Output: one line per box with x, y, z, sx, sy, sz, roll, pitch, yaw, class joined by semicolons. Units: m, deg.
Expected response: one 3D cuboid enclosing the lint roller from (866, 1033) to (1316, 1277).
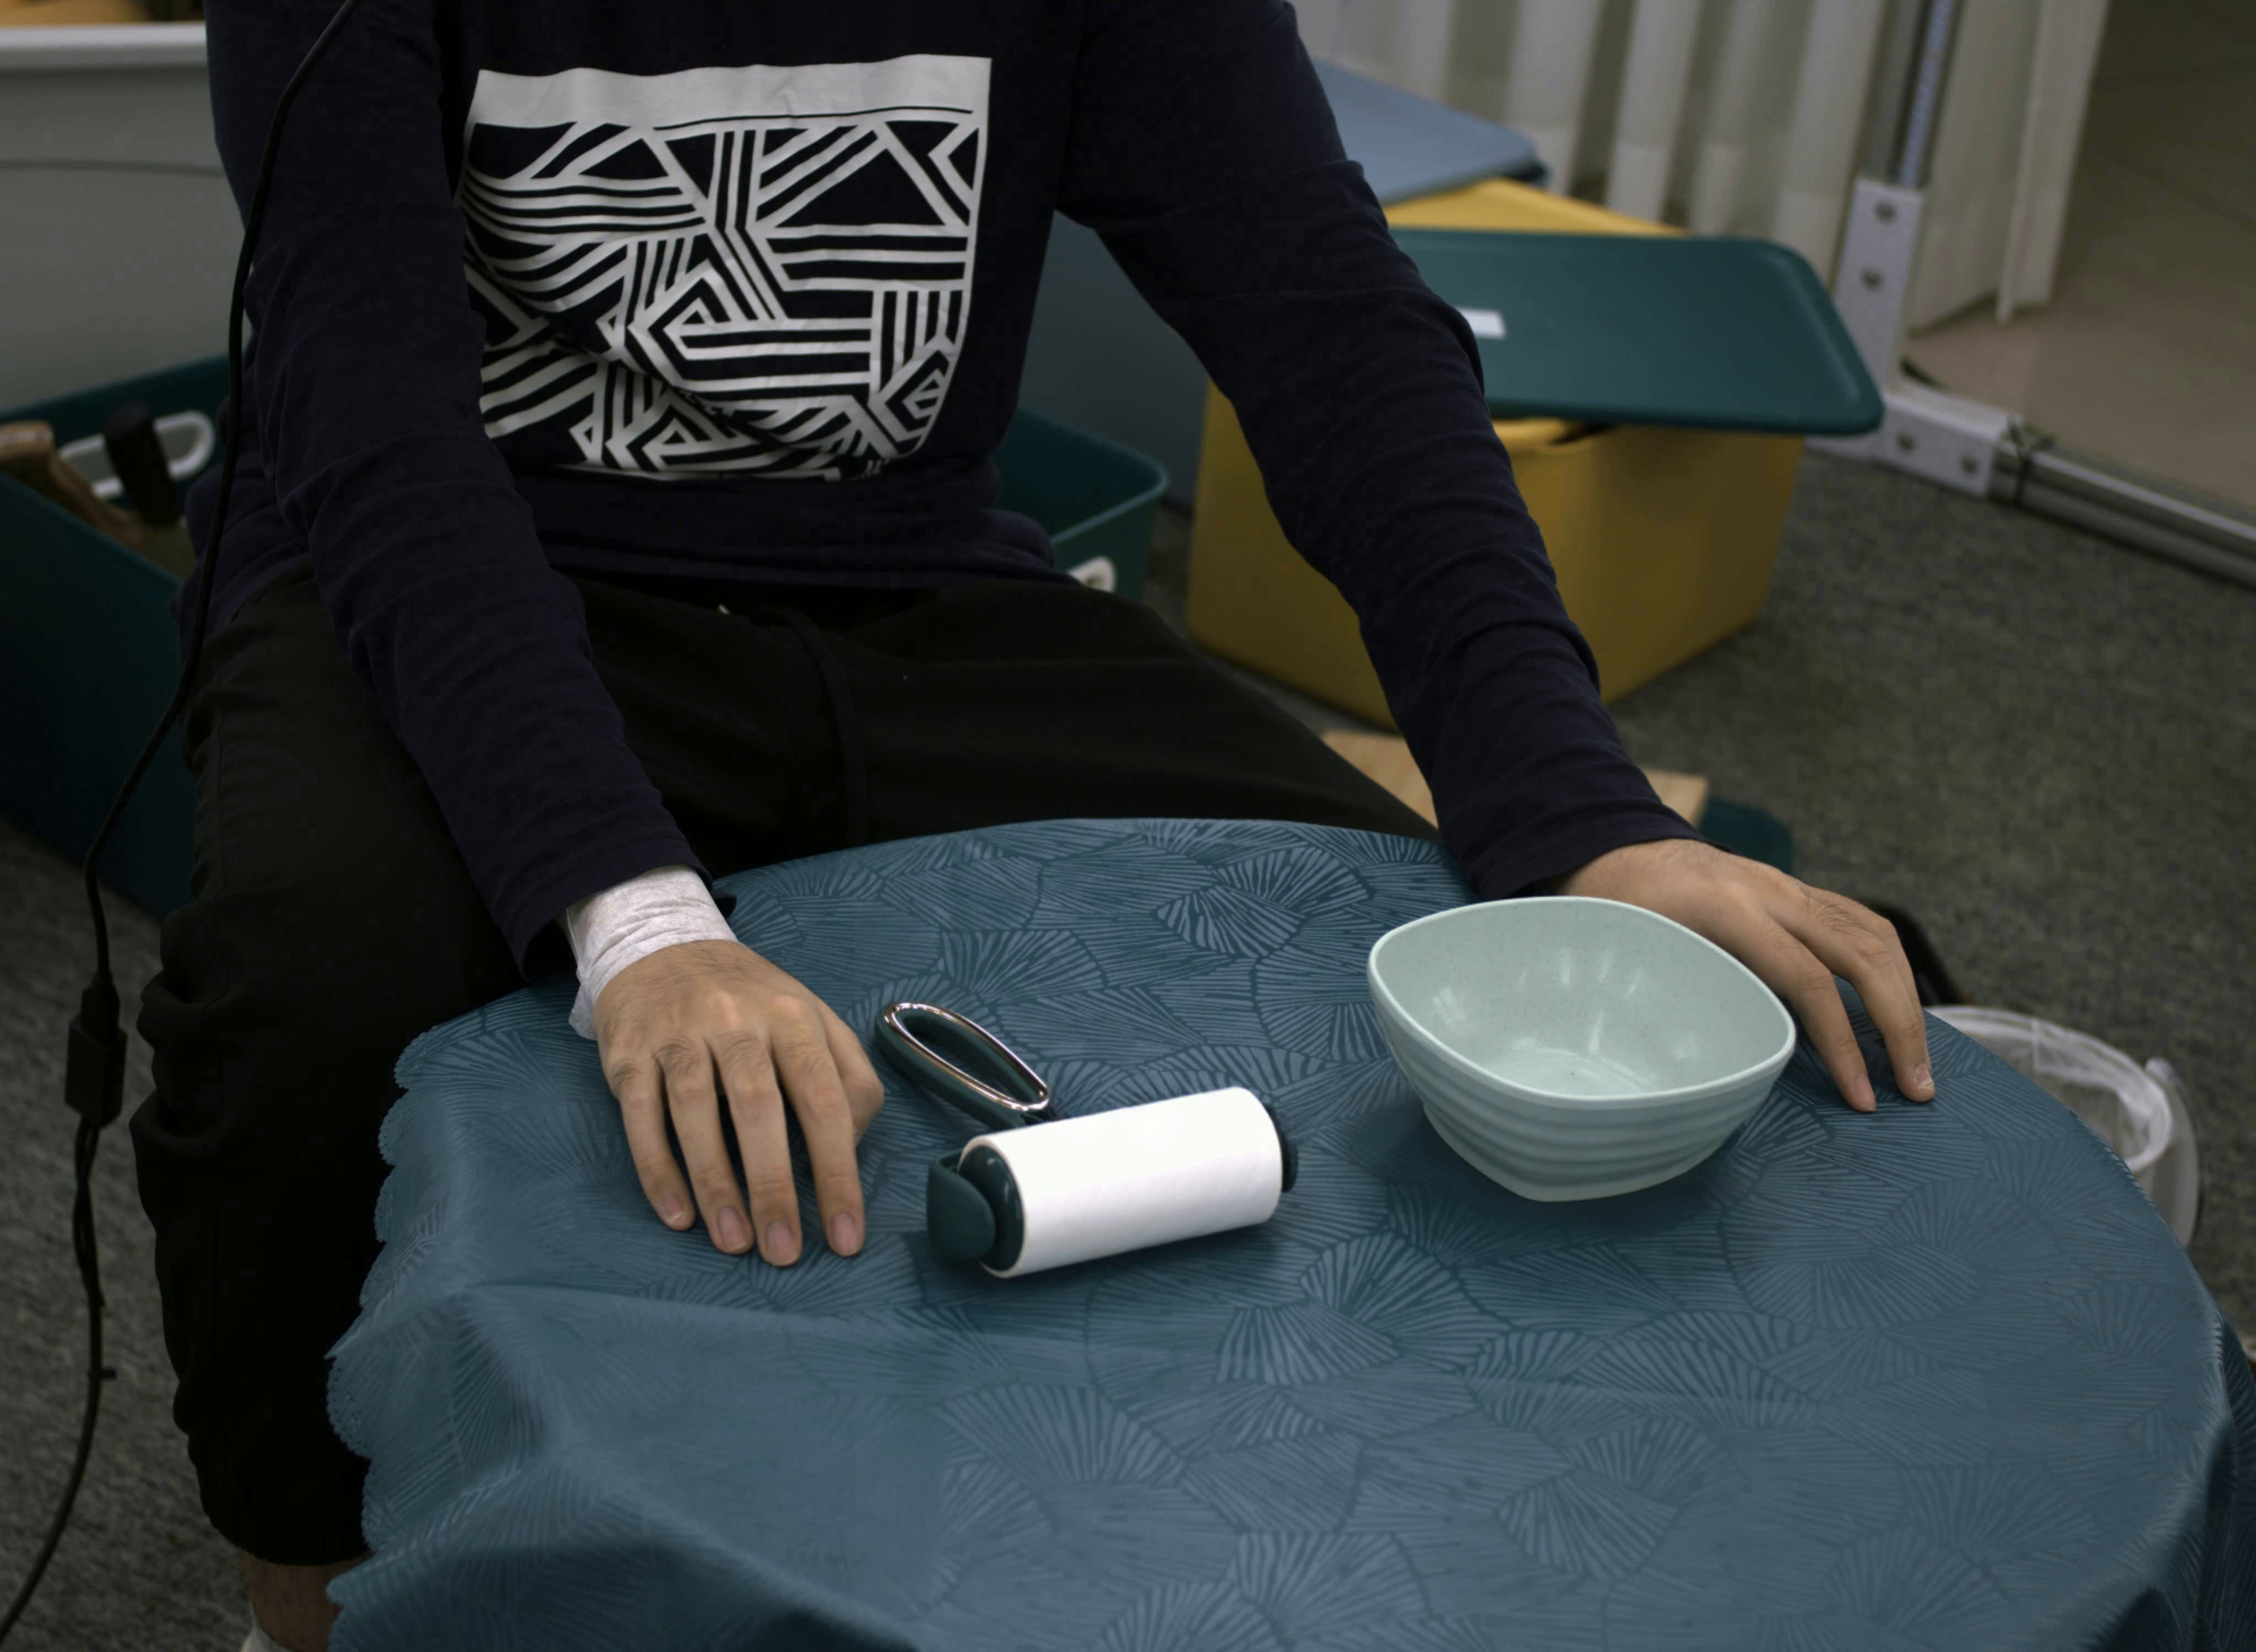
-0.038;0.092;1.817;0.133;0.048;0.182;-10;28;-30;lint roller

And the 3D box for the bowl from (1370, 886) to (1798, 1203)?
0.155;0.082;1.858;0.151;0.058;0.152;5;29;-3;bowl
